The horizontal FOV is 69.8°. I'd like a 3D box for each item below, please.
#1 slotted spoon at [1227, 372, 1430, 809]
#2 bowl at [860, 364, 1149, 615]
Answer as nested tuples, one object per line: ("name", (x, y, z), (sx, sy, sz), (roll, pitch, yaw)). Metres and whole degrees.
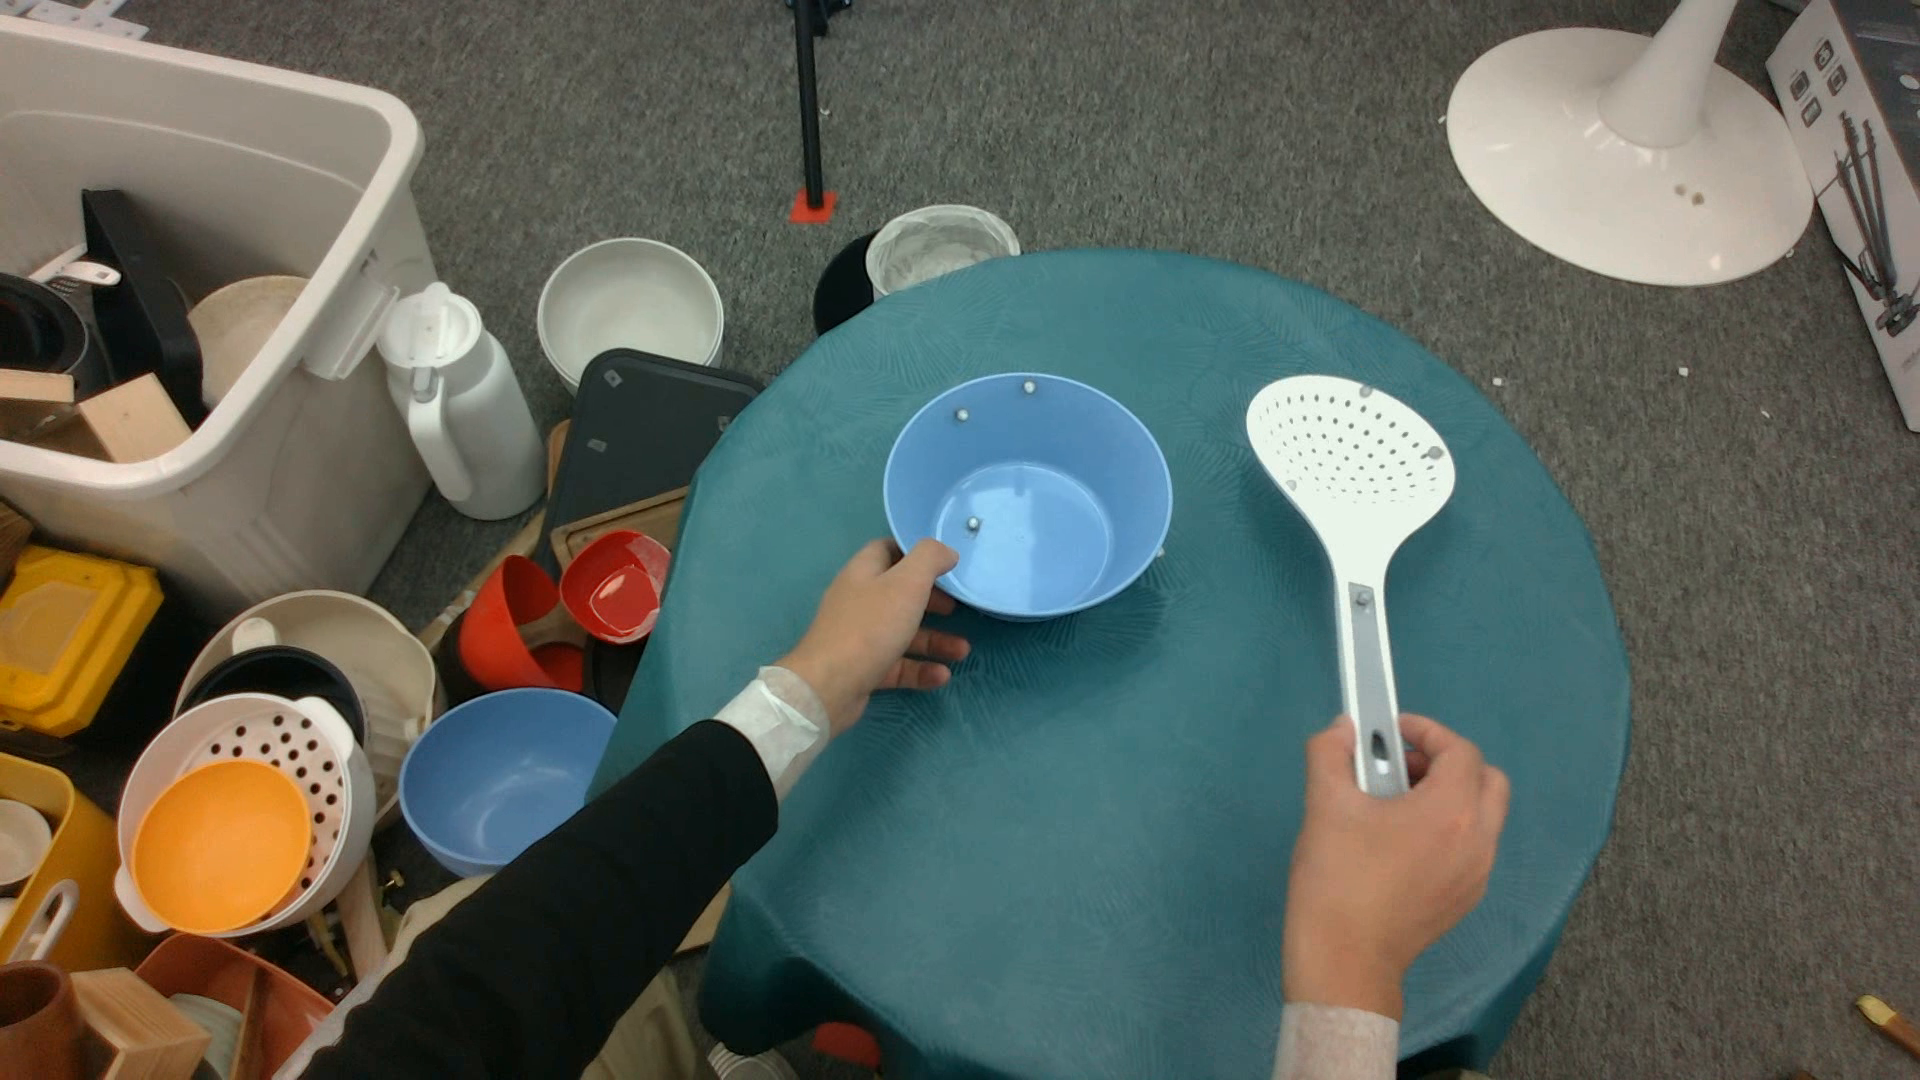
("slotted spoon", (0.223, 0.013, 0.815), (0.136, 0.045, 0.351), (13, 39, -2))
("bowl", (0.026, -0.020, 0.859), (0.176, 0.070, 0.177), (1, 60, -2))
